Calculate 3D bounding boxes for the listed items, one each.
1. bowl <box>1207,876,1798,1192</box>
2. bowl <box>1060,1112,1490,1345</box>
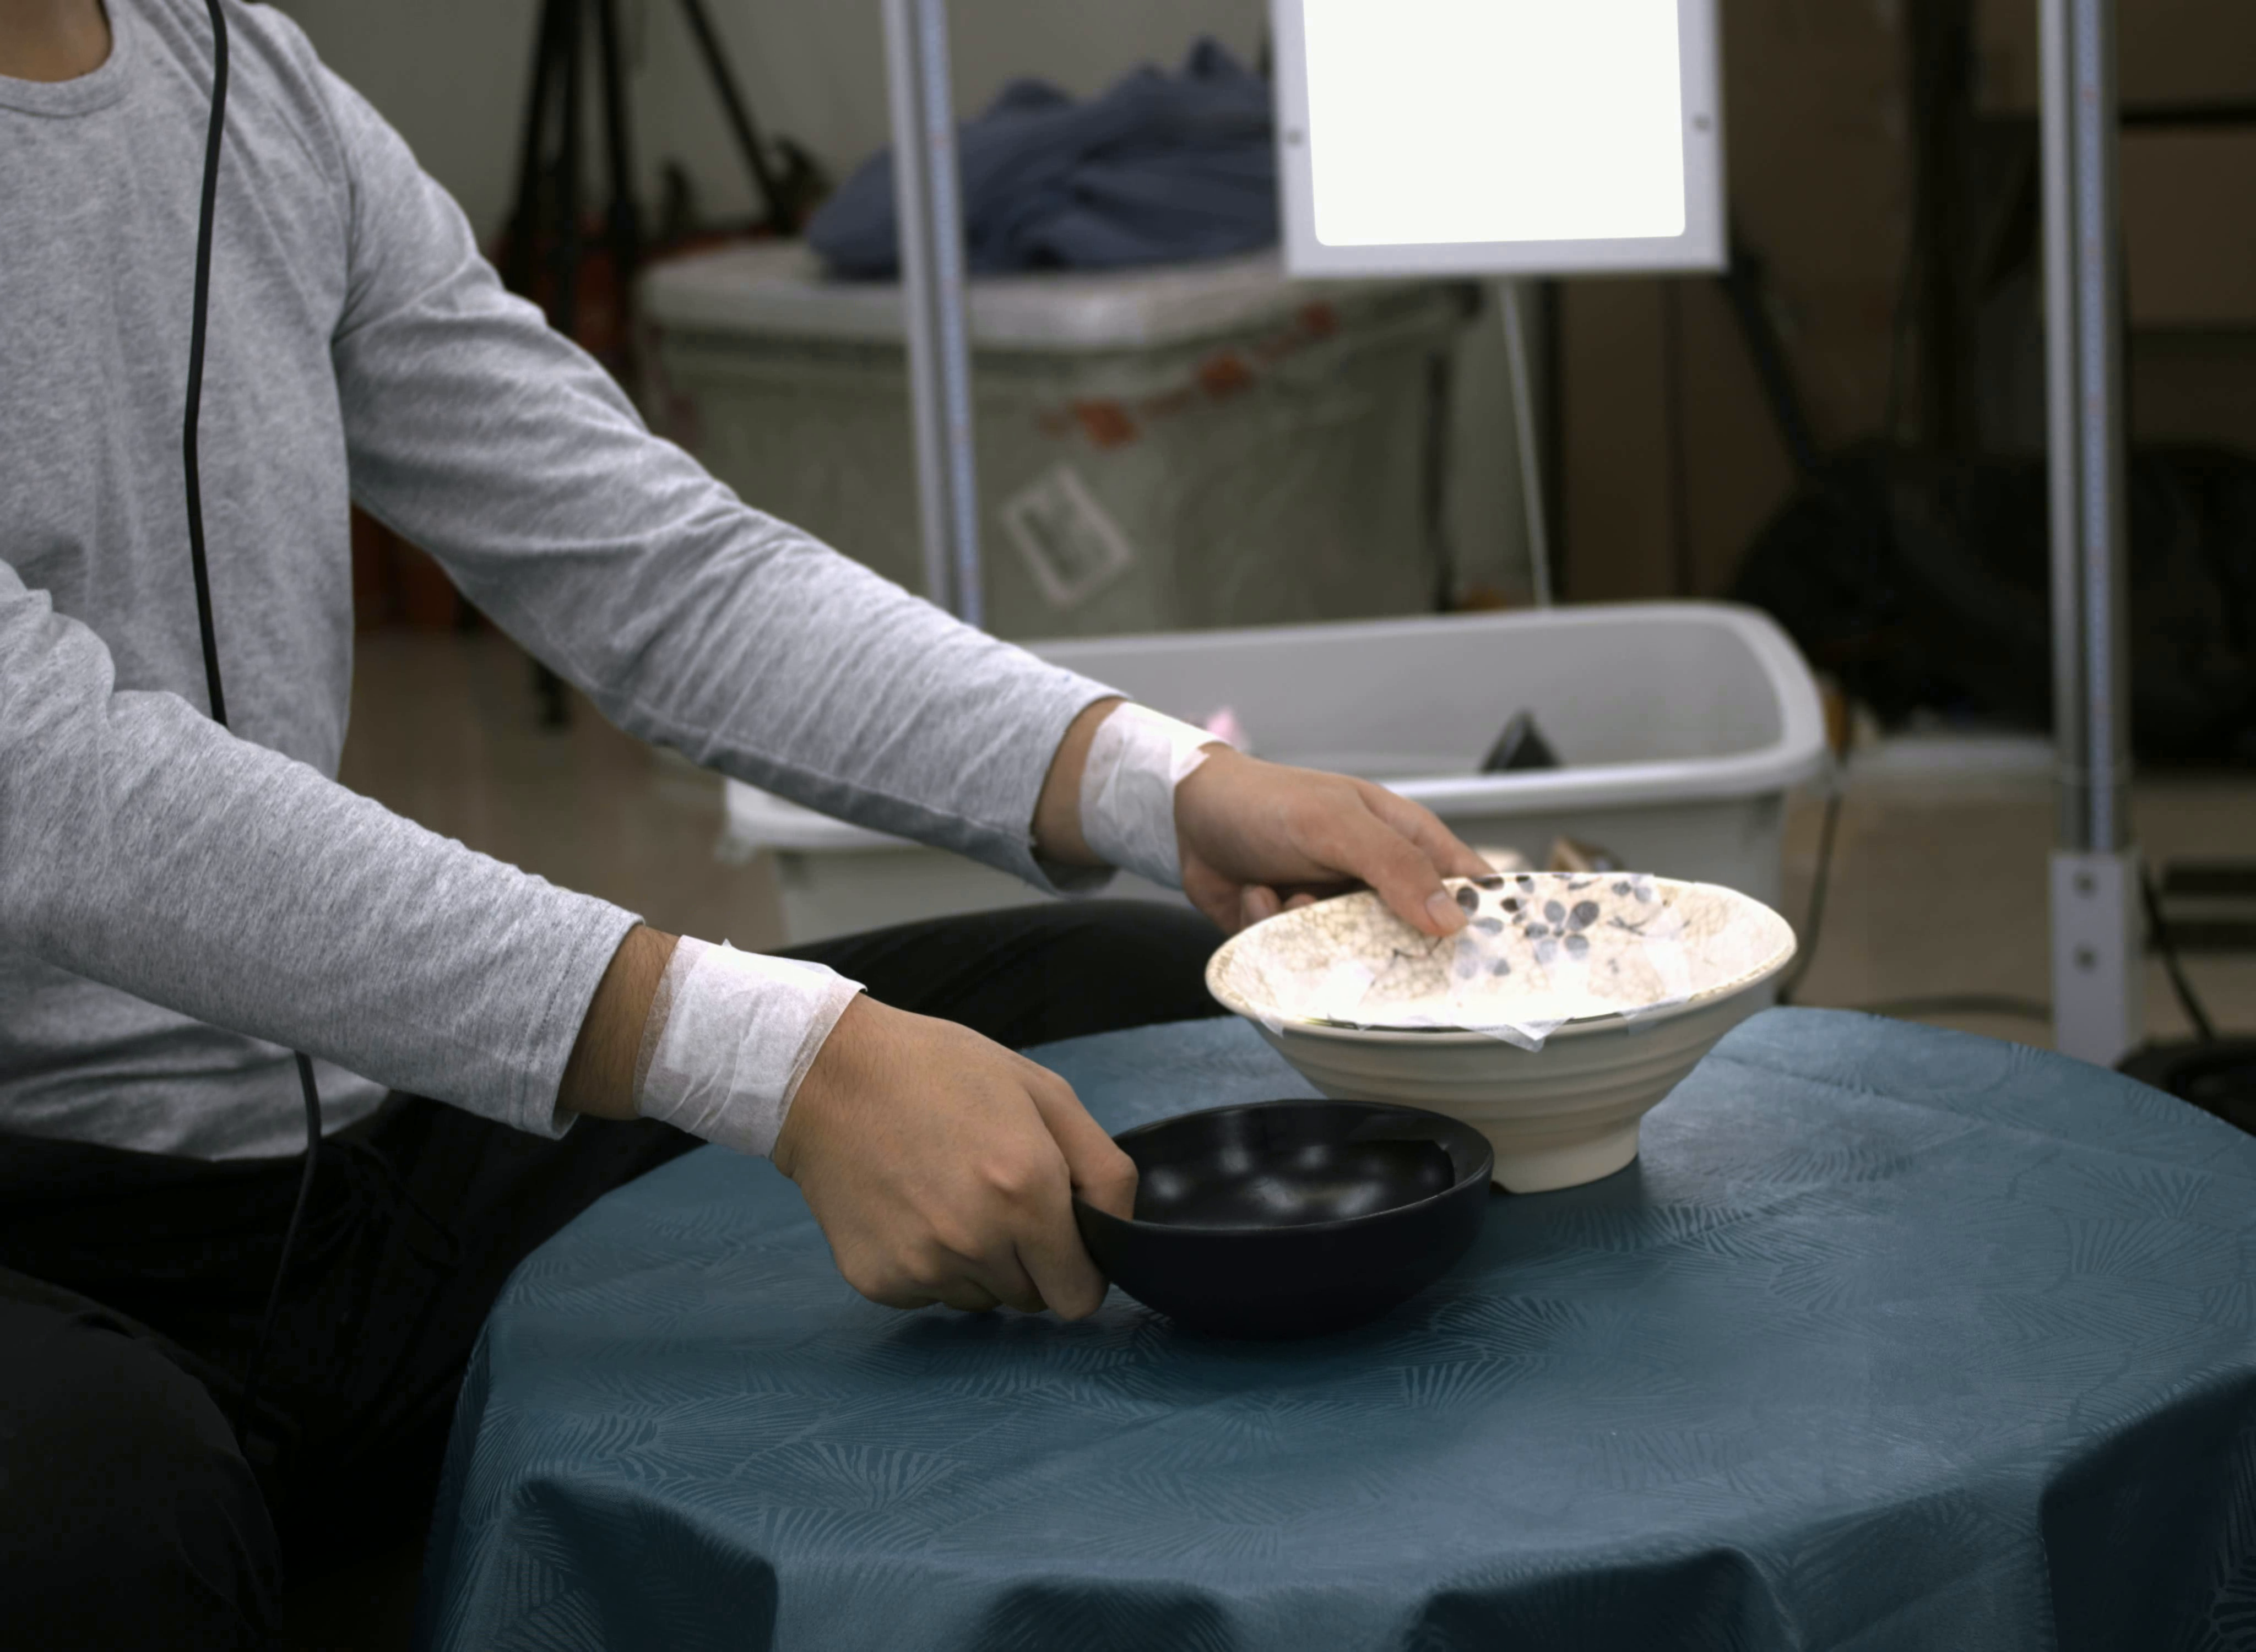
[{"bbox_3d":[0.131,0.077,1.892,0.203,0.078,0.204,-5,13,0],"label":"bowl"},{"bbox_3d":[0.050,0.133,1.765,0.139,0.050,0.140,-6,11,0],"label":"bowl"}]
